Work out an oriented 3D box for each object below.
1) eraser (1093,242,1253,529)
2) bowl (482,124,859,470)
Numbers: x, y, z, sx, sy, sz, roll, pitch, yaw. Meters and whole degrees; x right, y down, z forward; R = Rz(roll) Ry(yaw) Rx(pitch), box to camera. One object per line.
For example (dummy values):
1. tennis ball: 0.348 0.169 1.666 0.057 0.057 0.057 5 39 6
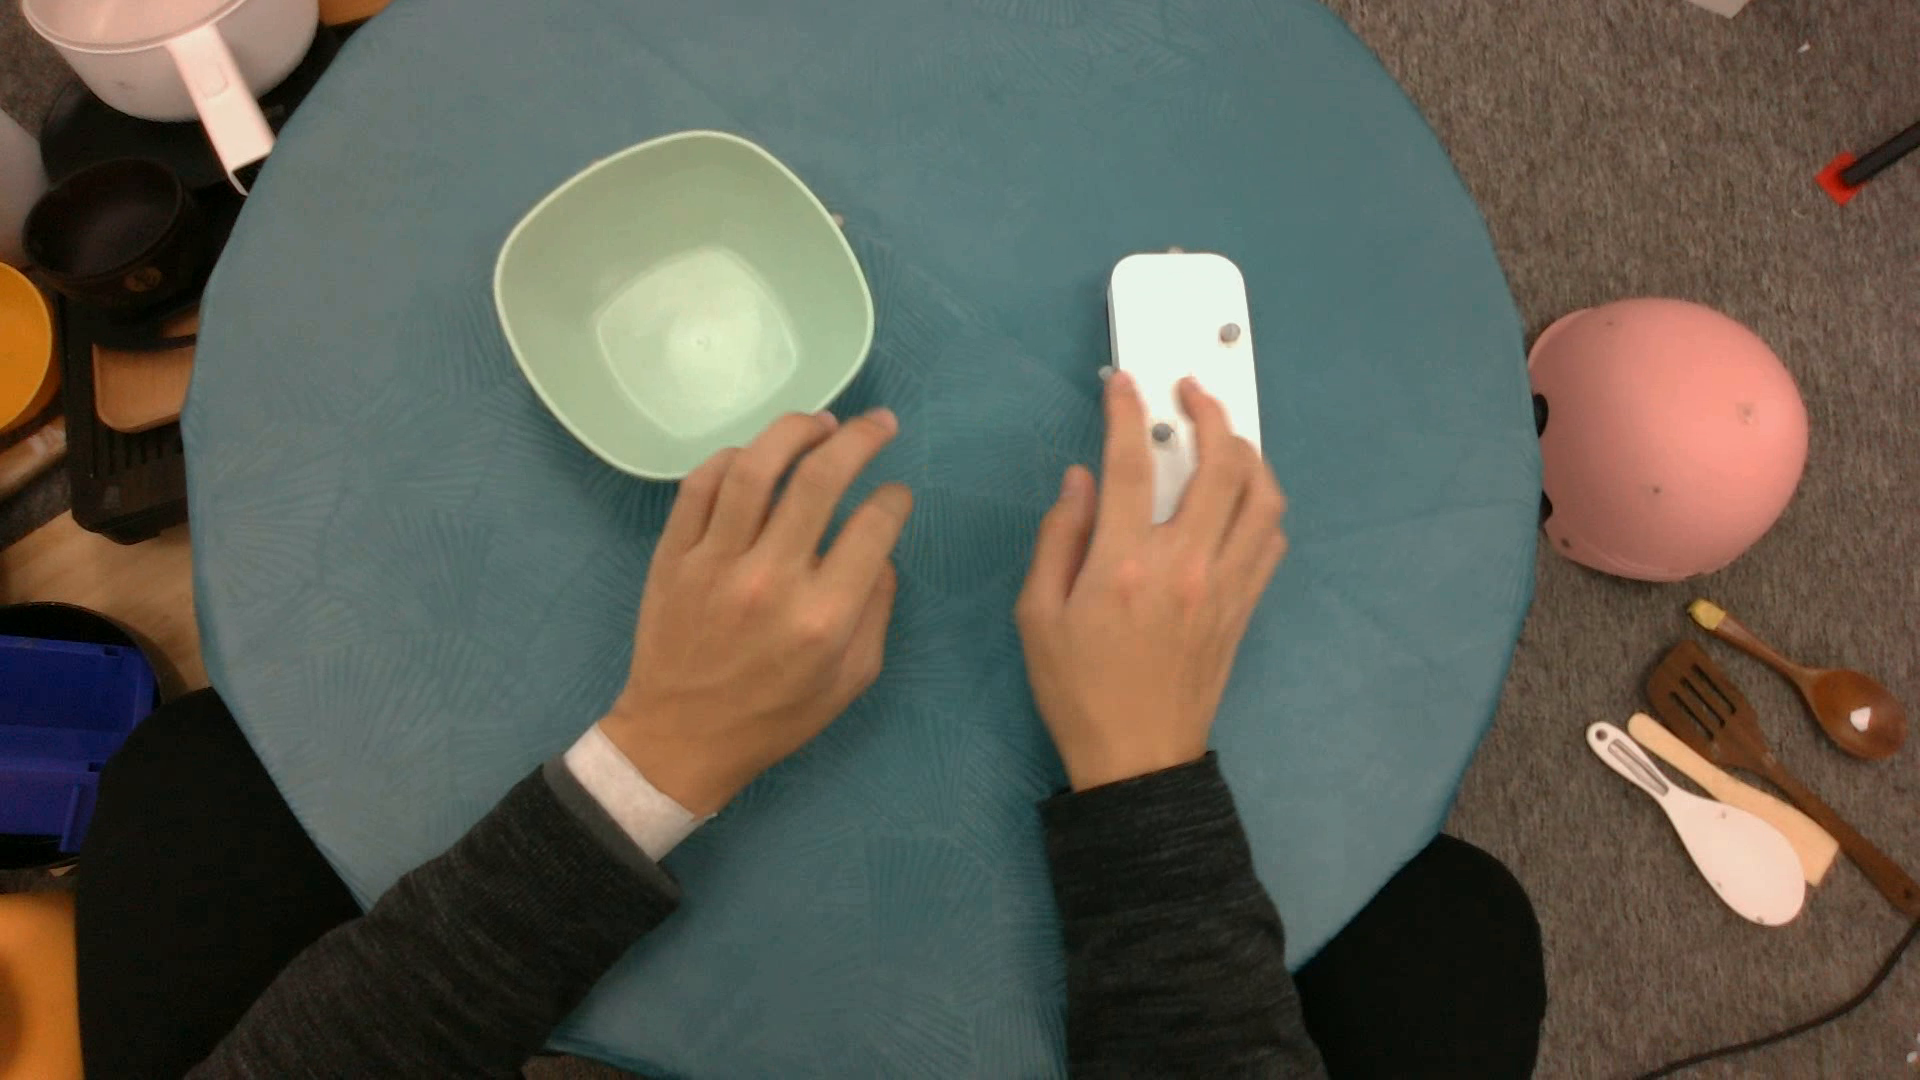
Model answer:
1. eraser: 0.092 -0.069 0.616 0.063 0.034 0.131 -2 77 -5
2. bowl: -0.119 -0.095 0.582 0.151 0.058 0.152 2 76 -6
